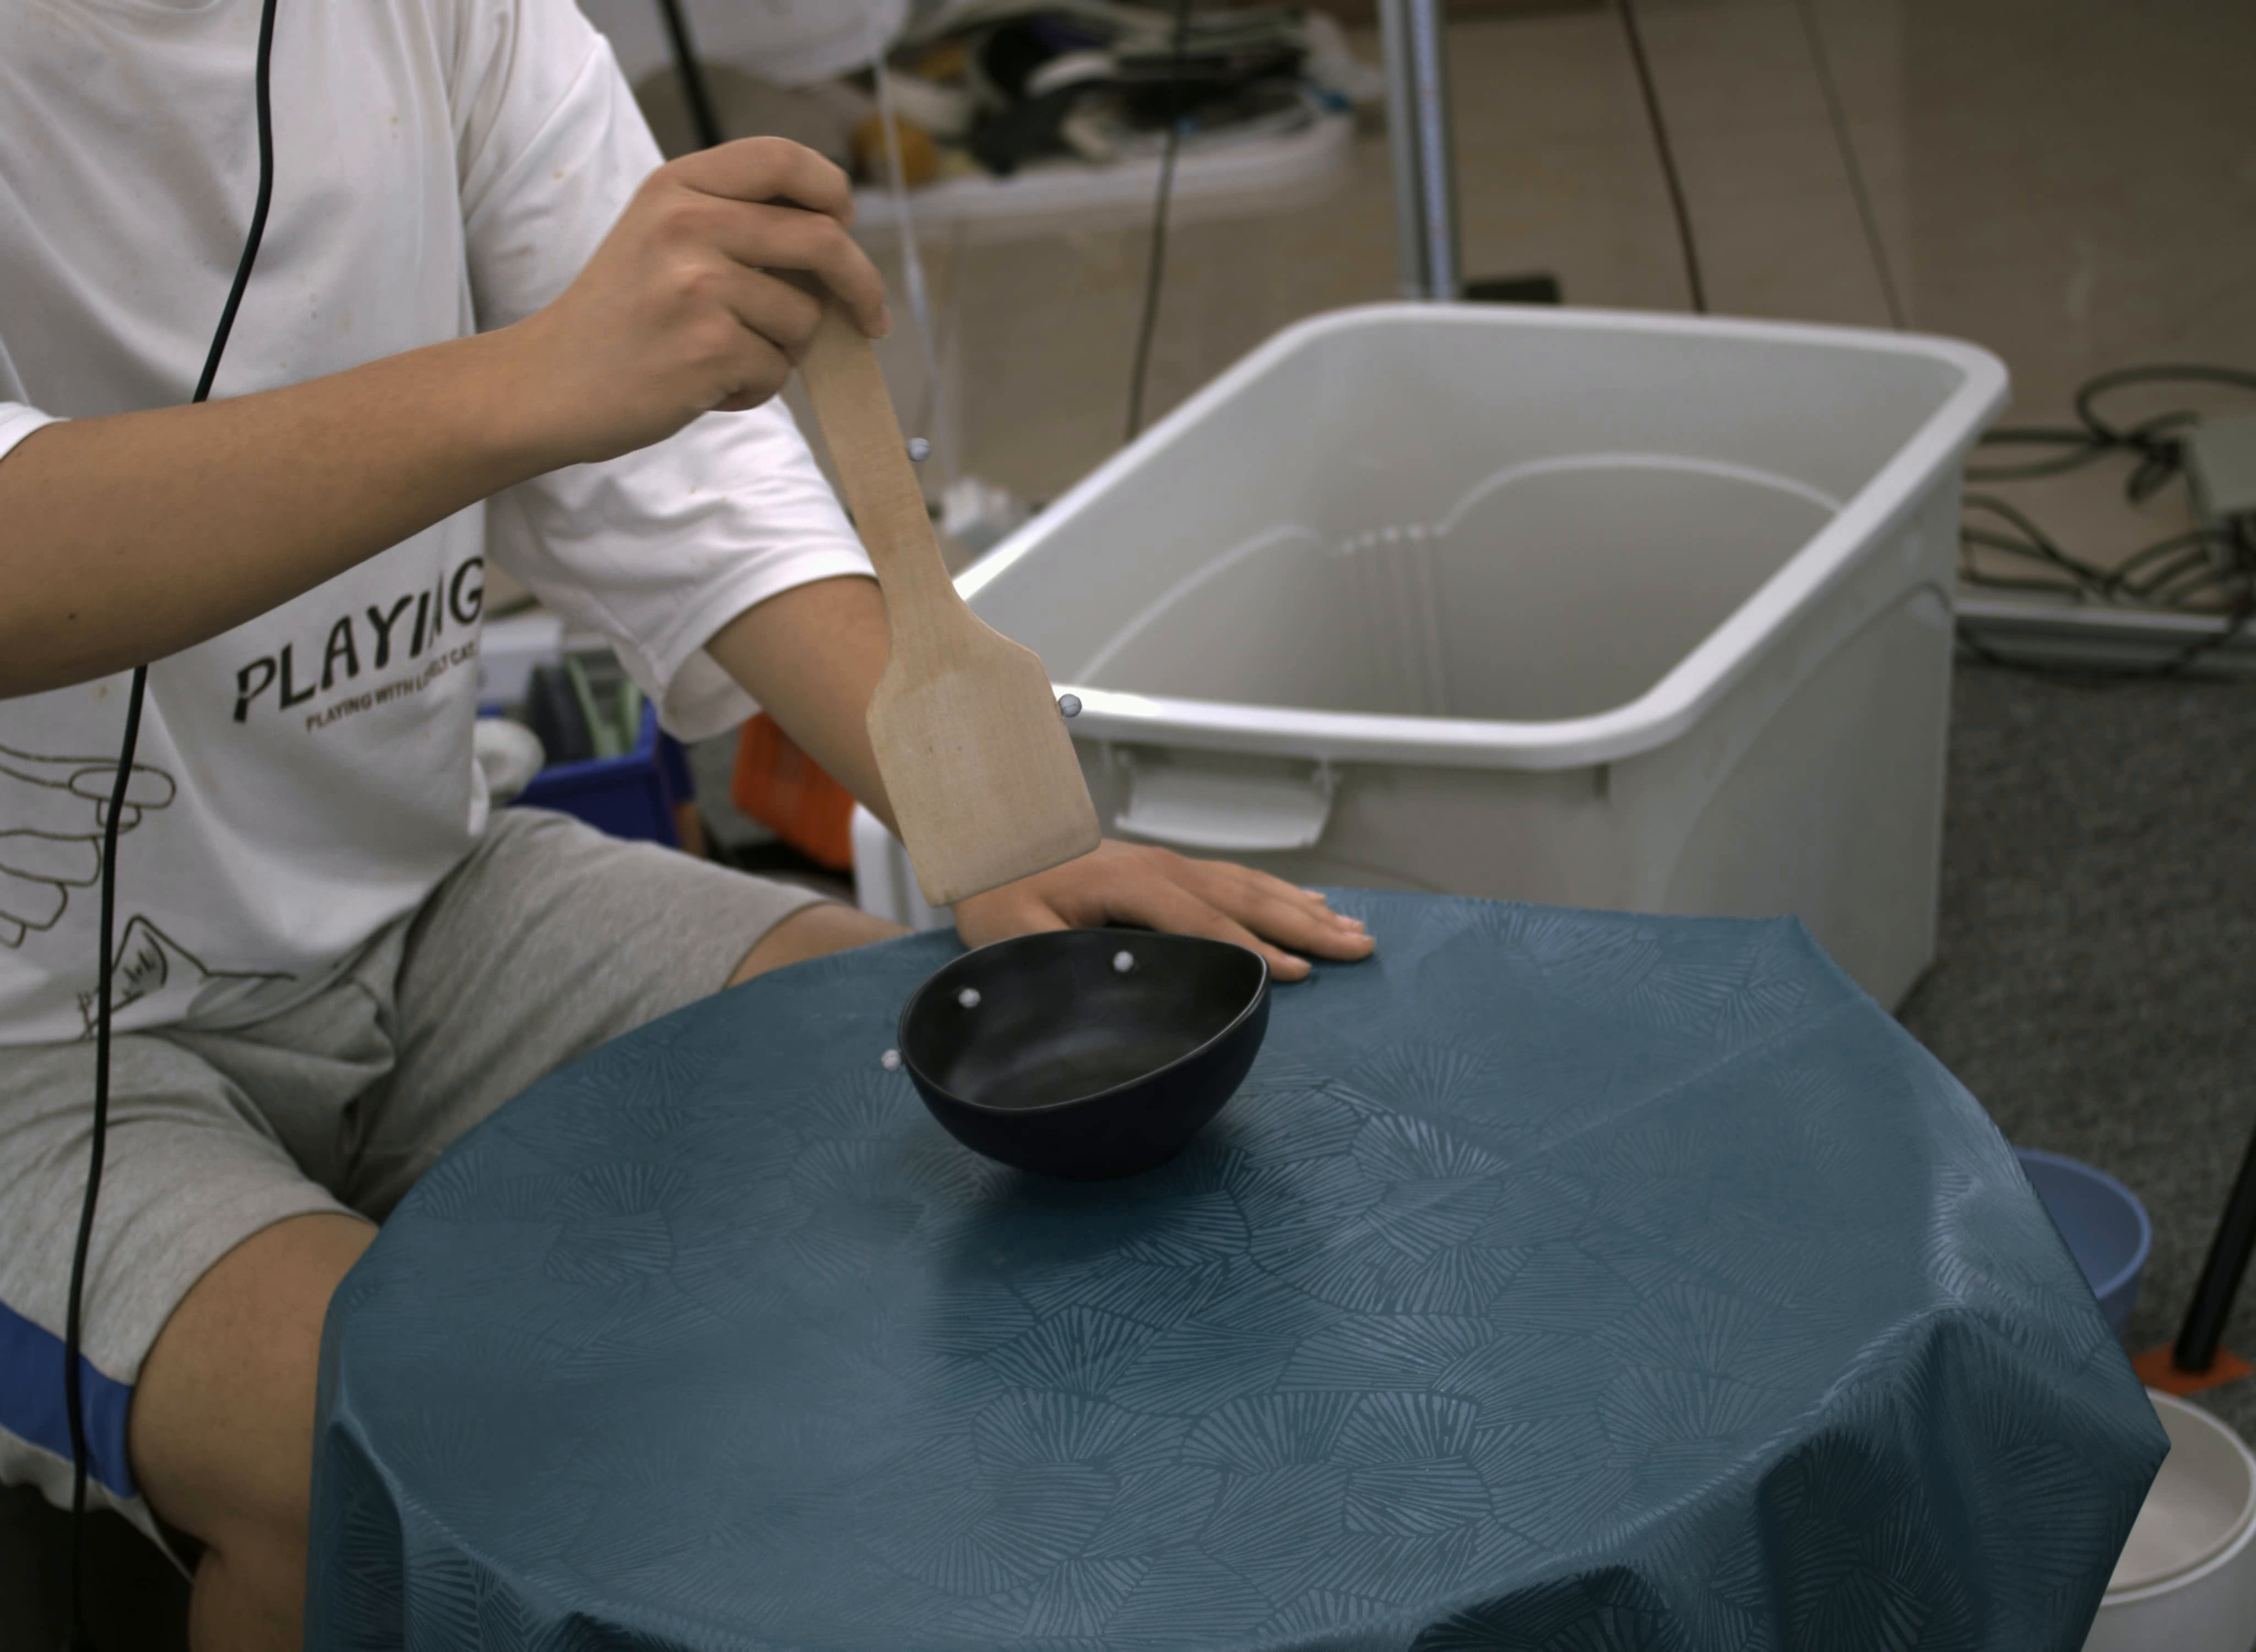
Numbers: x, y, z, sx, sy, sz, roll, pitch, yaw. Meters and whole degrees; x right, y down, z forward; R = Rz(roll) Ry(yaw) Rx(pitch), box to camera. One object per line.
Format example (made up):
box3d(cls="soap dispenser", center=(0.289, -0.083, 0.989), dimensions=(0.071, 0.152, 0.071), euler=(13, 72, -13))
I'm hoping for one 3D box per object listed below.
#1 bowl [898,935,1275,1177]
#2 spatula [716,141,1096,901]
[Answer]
box3d(cls="bowl", center=(-0.013, 0.092, 2.174), dimensions=(0.137, 0.068, 0.168), euler=(6, 26, 26))
box3d(cls="spatula", center=(-0.085, -0.108, 2.003), dimensions=(0.072, 0.297, 0.010), euler=(-20, 25, -1))
